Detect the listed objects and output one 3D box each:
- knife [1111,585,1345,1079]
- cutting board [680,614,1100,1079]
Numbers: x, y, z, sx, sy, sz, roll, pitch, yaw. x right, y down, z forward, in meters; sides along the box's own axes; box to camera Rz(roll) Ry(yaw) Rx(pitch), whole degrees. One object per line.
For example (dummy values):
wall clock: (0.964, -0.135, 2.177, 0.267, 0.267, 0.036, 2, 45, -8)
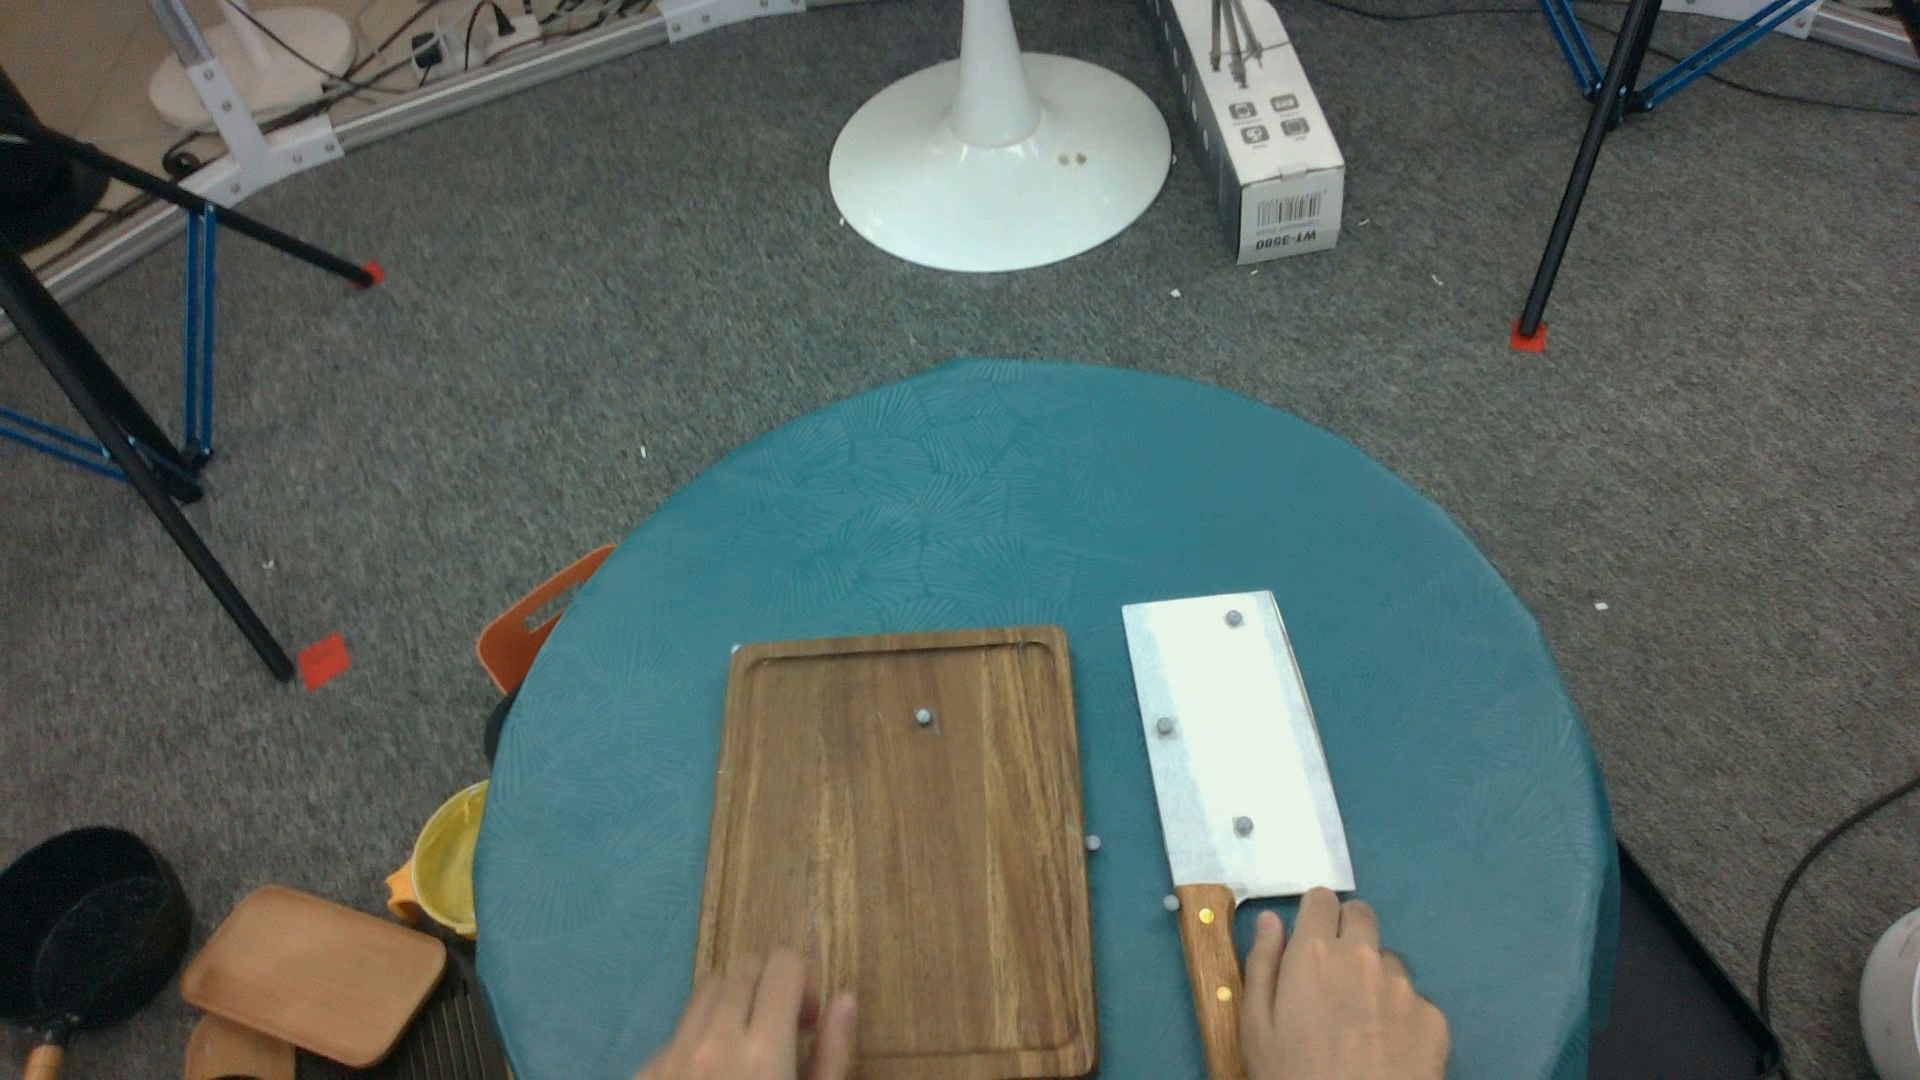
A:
knife: (0.144, 0.144, 0.709, 0.093, 0.021, 0.307, -6, 49, -1)
cutting board: (-0.036, 0.191, 0.687, 0.201, 0.023, 0.353, -4, 52, 2)
